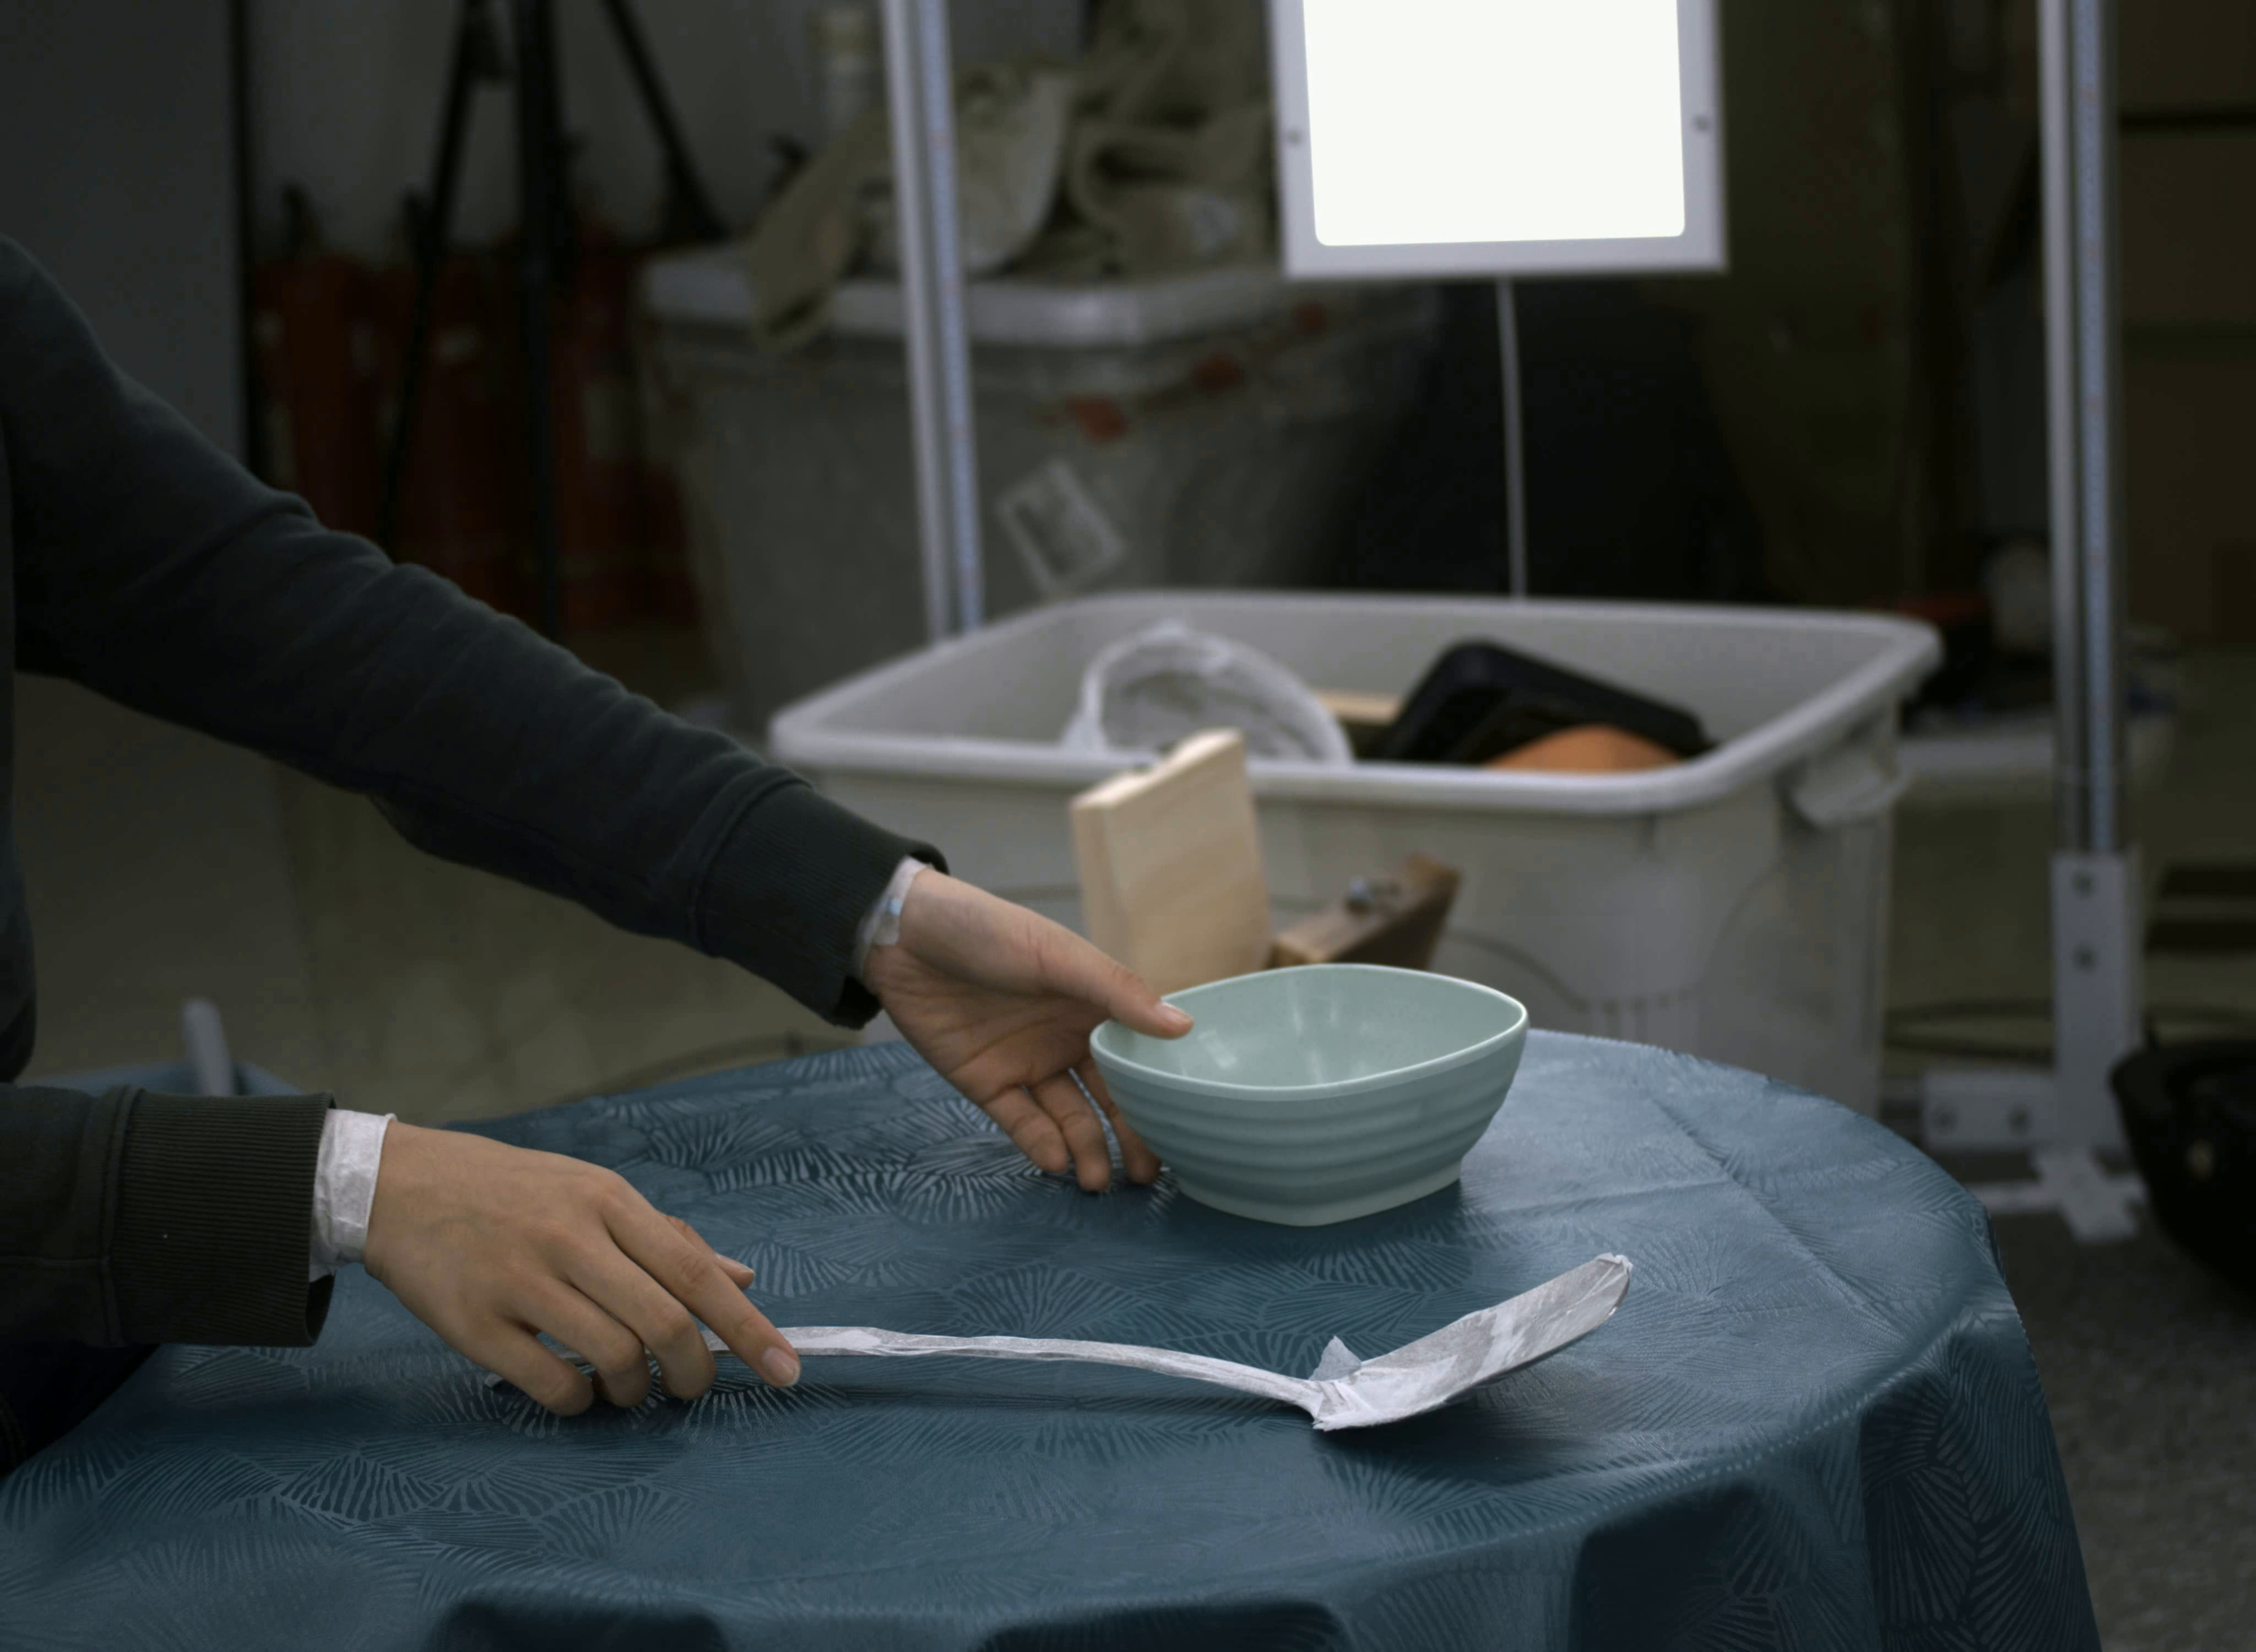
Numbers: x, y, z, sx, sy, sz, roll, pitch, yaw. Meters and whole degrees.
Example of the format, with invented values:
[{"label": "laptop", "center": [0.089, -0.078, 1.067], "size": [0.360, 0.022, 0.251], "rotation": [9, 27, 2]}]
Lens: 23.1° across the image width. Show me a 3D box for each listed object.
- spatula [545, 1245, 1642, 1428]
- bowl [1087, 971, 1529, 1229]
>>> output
[{"label": "spatula", "center": [-0.021, 0.157, 1.700], "size": [0.370, 0.045, 0.097], "rotation": [1, 16, 21]}, {"label": "bowl", "center": [0.062, 0.096, 1.883], "size": [0.151, 0.059, 0.151], "rotation": [-2, 13, -1]}]
